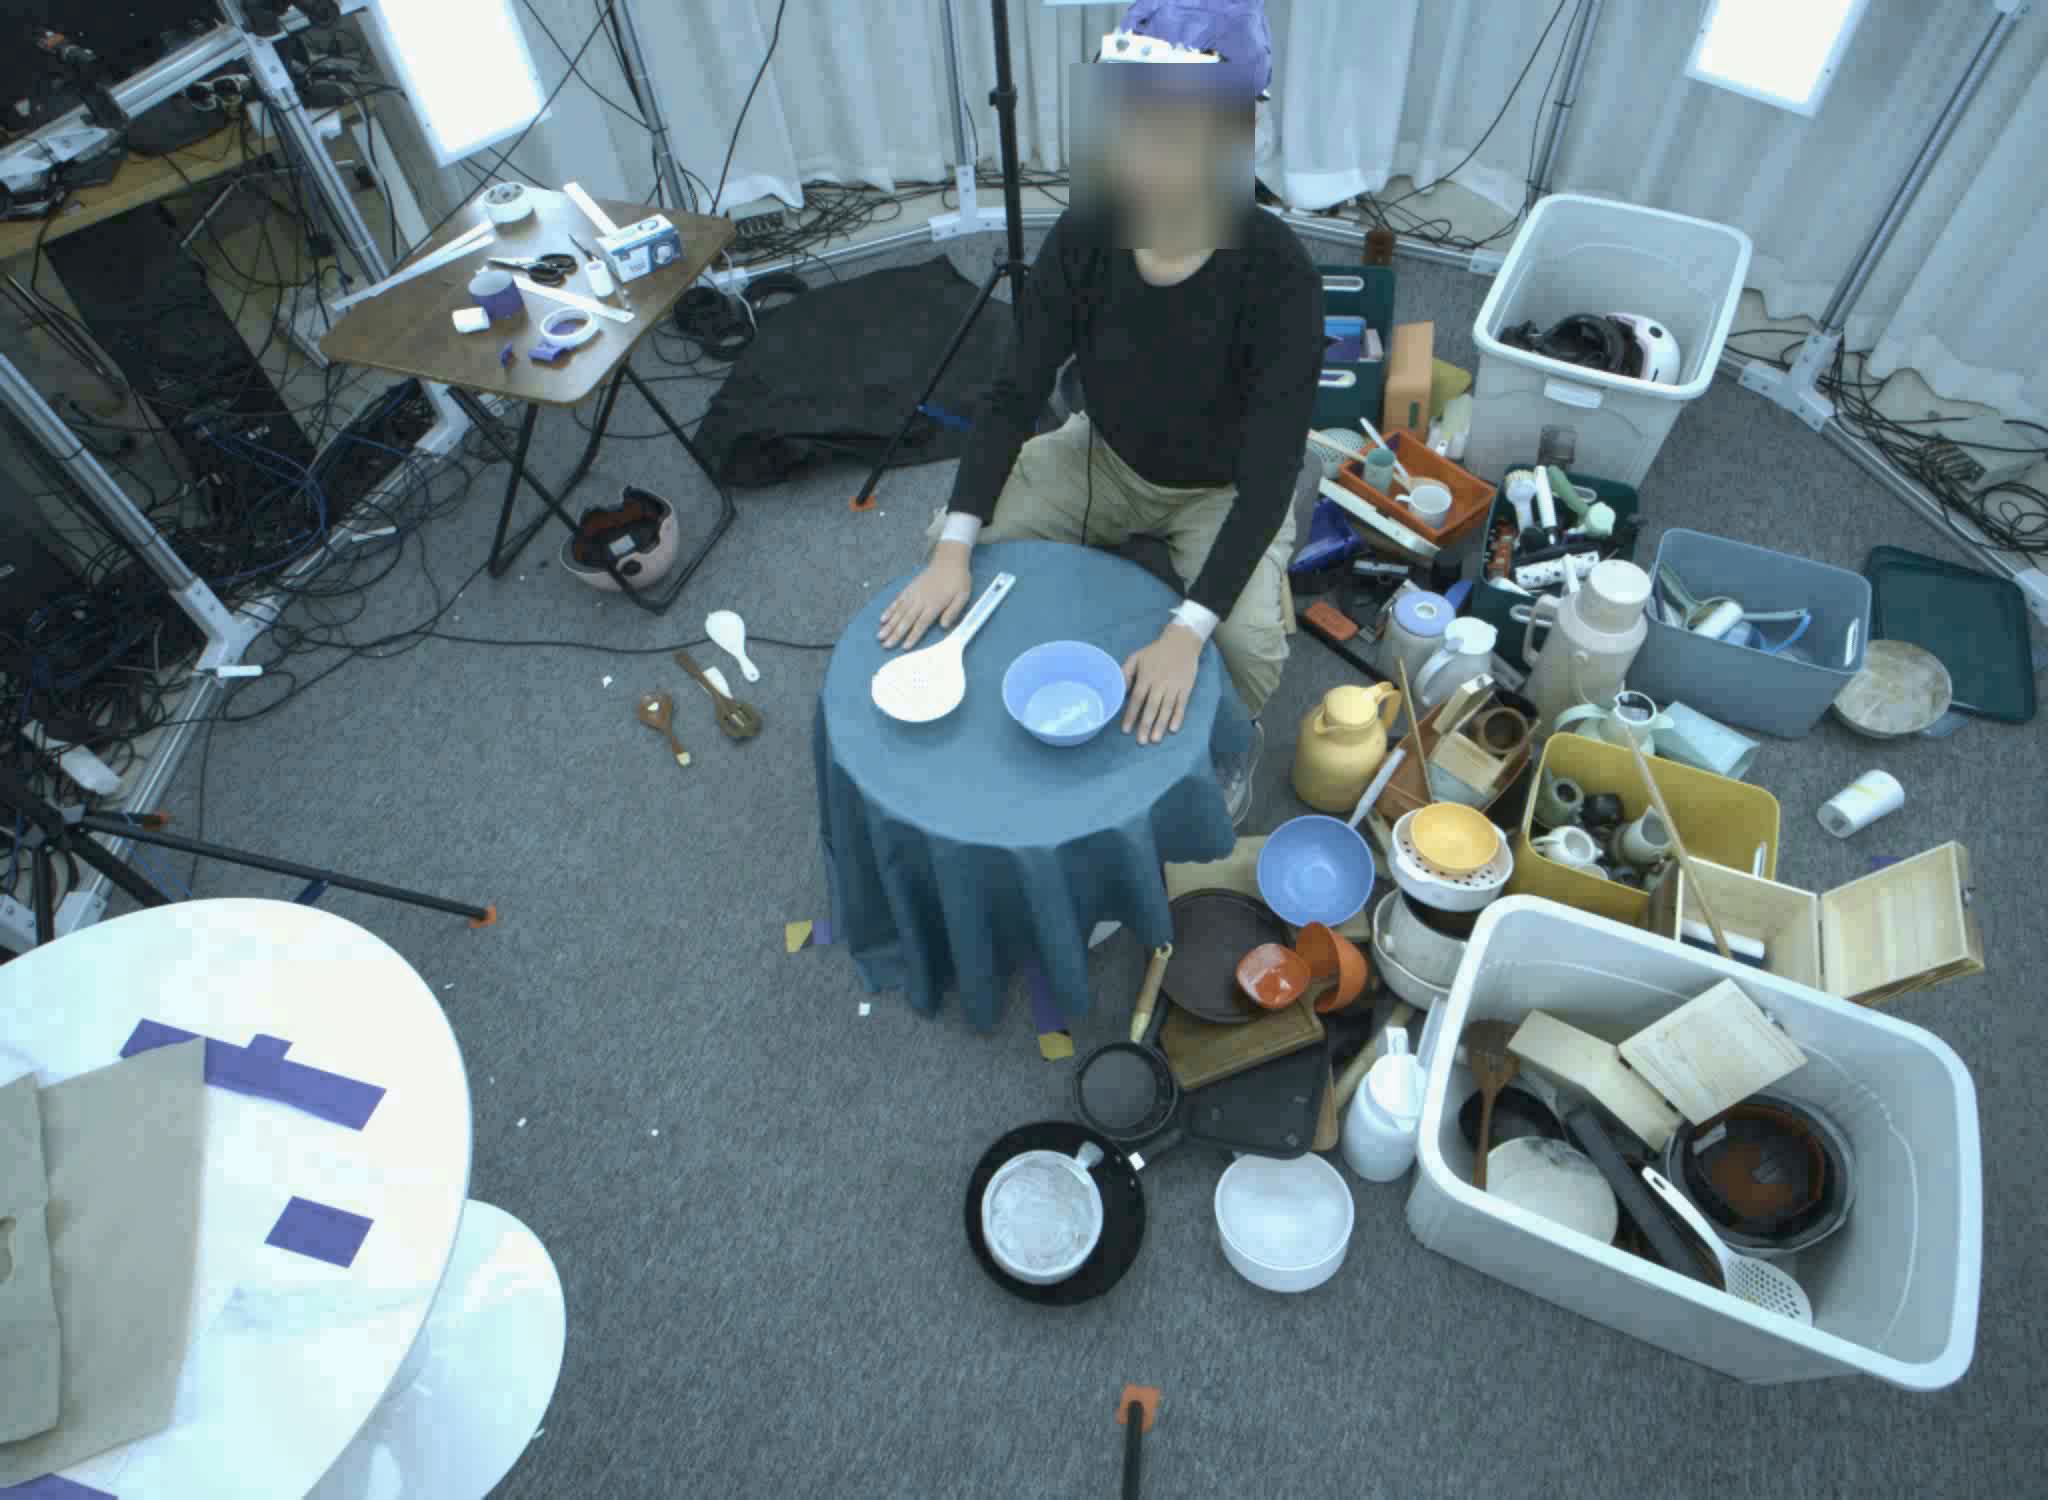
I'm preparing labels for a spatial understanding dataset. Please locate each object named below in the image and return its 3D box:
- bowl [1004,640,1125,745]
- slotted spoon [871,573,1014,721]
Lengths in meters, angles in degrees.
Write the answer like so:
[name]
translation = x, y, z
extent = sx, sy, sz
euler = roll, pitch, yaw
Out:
[bowl]
translation = 0.060, -0.073, 1.794
extent = 0.176, 0.071, 0.174
euler = 0, 54, 1
[slotted spoon]
translation = -0.108, -0.163, 1.878
extent = 0.134, 0.046, 0.350
euler = 22, 57, 16
